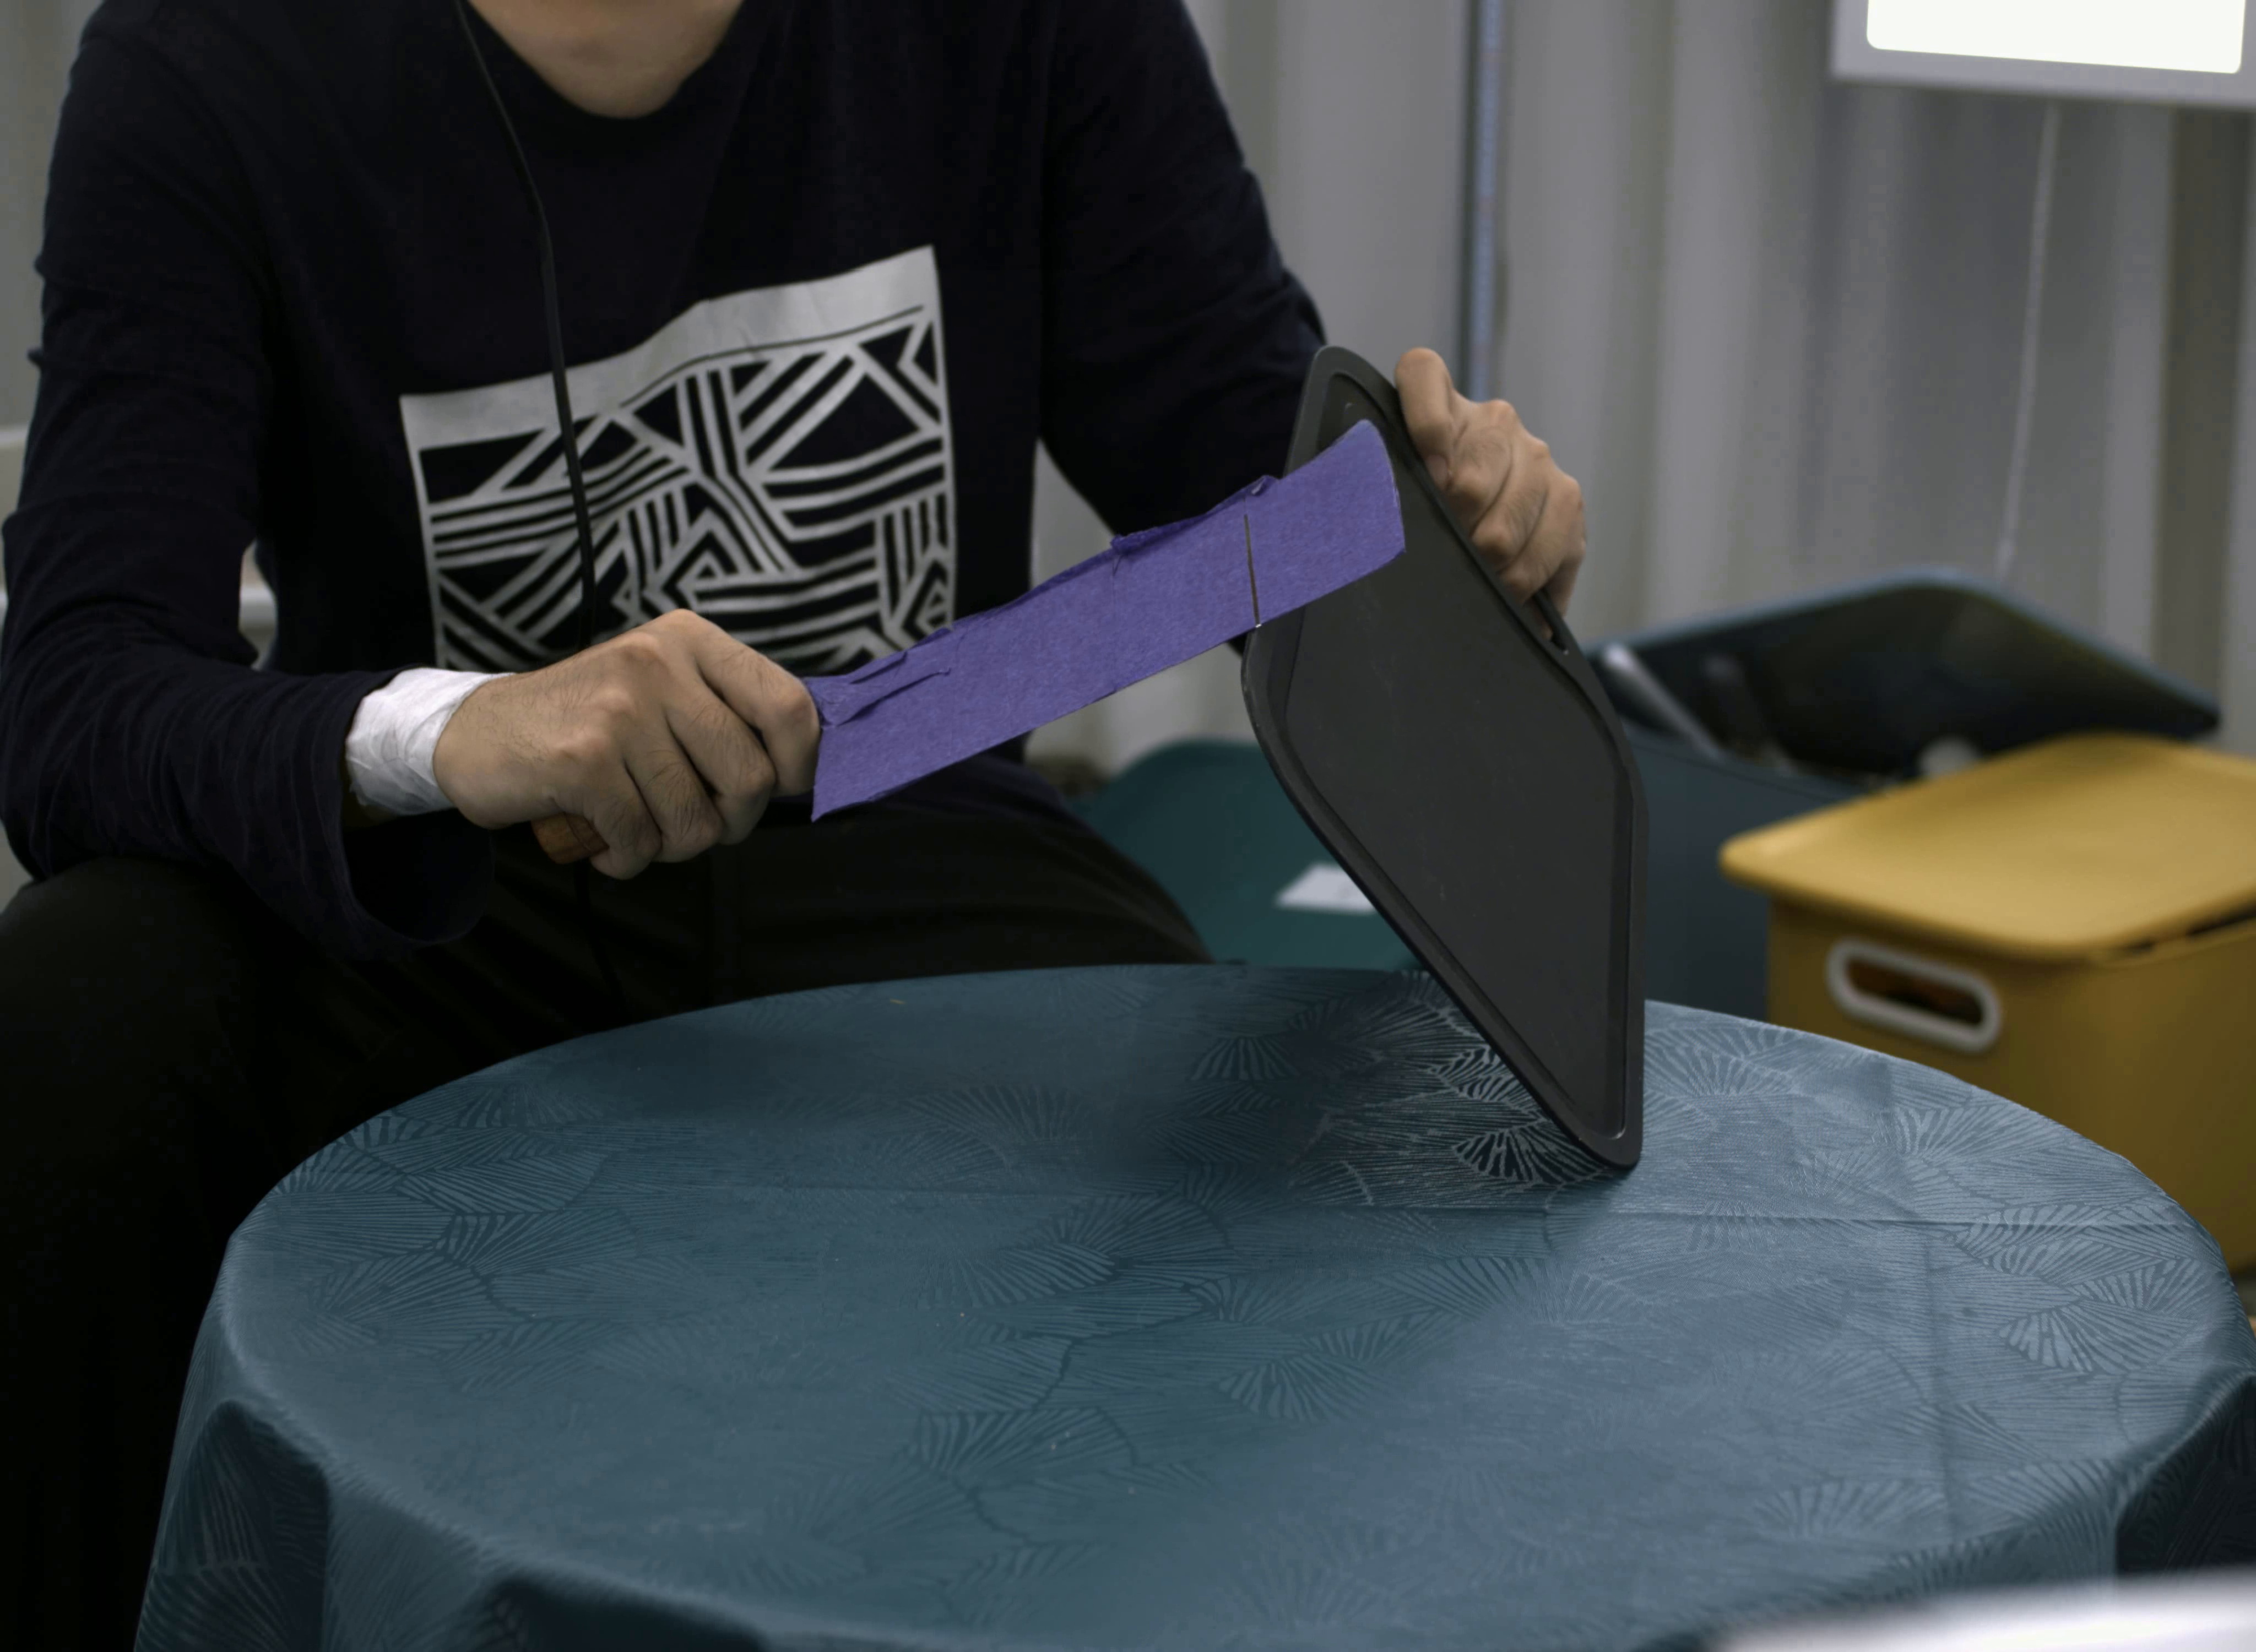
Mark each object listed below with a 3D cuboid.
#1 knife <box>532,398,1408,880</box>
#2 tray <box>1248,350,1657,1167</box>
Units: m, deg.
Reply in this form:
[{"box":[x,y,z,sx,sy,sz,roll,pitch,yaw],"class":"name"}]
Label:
[{"box":[-0.054,-0.048,1.671,0.314,0.032,0.103,-27,25,14],"class":"knife"},{"box":[0.112,-0.034,1.731,0.010,0.213,0.323,-30,21,22],"class":"tray"}]
